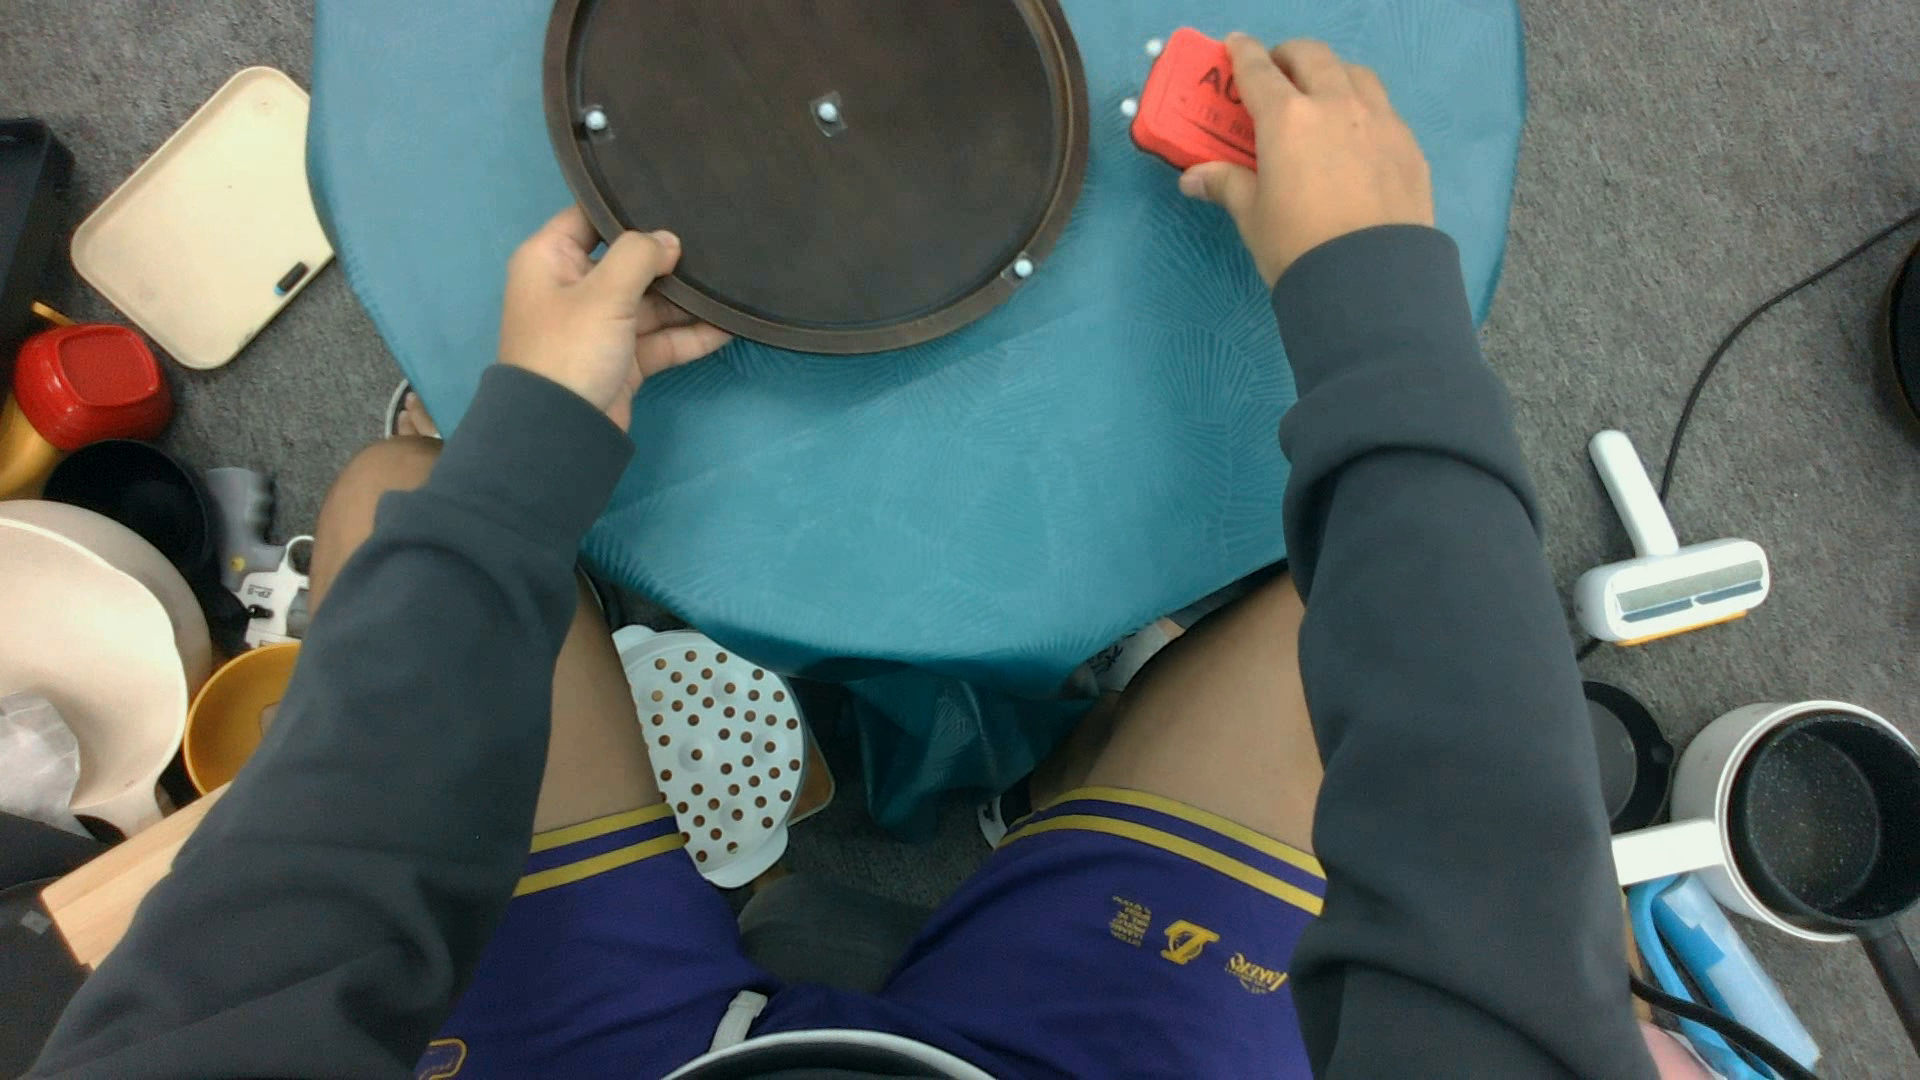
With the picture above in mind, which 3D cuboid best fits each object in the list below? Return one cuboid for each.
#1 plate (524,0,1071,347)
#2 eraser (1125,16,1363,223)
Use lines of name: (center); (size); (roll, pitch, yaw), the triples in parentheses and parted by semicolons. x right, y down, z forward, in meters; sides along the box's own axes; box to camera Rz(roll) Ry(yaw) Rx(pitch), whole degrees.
plate: (-0.072, -0.209, 0.645); (0.255, 0.029, 0.255); (3, 78, -14)
eraser: (0.136, -0.199, 0.655); (0.108, 0.023, 0.059); (24, 79, -13)
